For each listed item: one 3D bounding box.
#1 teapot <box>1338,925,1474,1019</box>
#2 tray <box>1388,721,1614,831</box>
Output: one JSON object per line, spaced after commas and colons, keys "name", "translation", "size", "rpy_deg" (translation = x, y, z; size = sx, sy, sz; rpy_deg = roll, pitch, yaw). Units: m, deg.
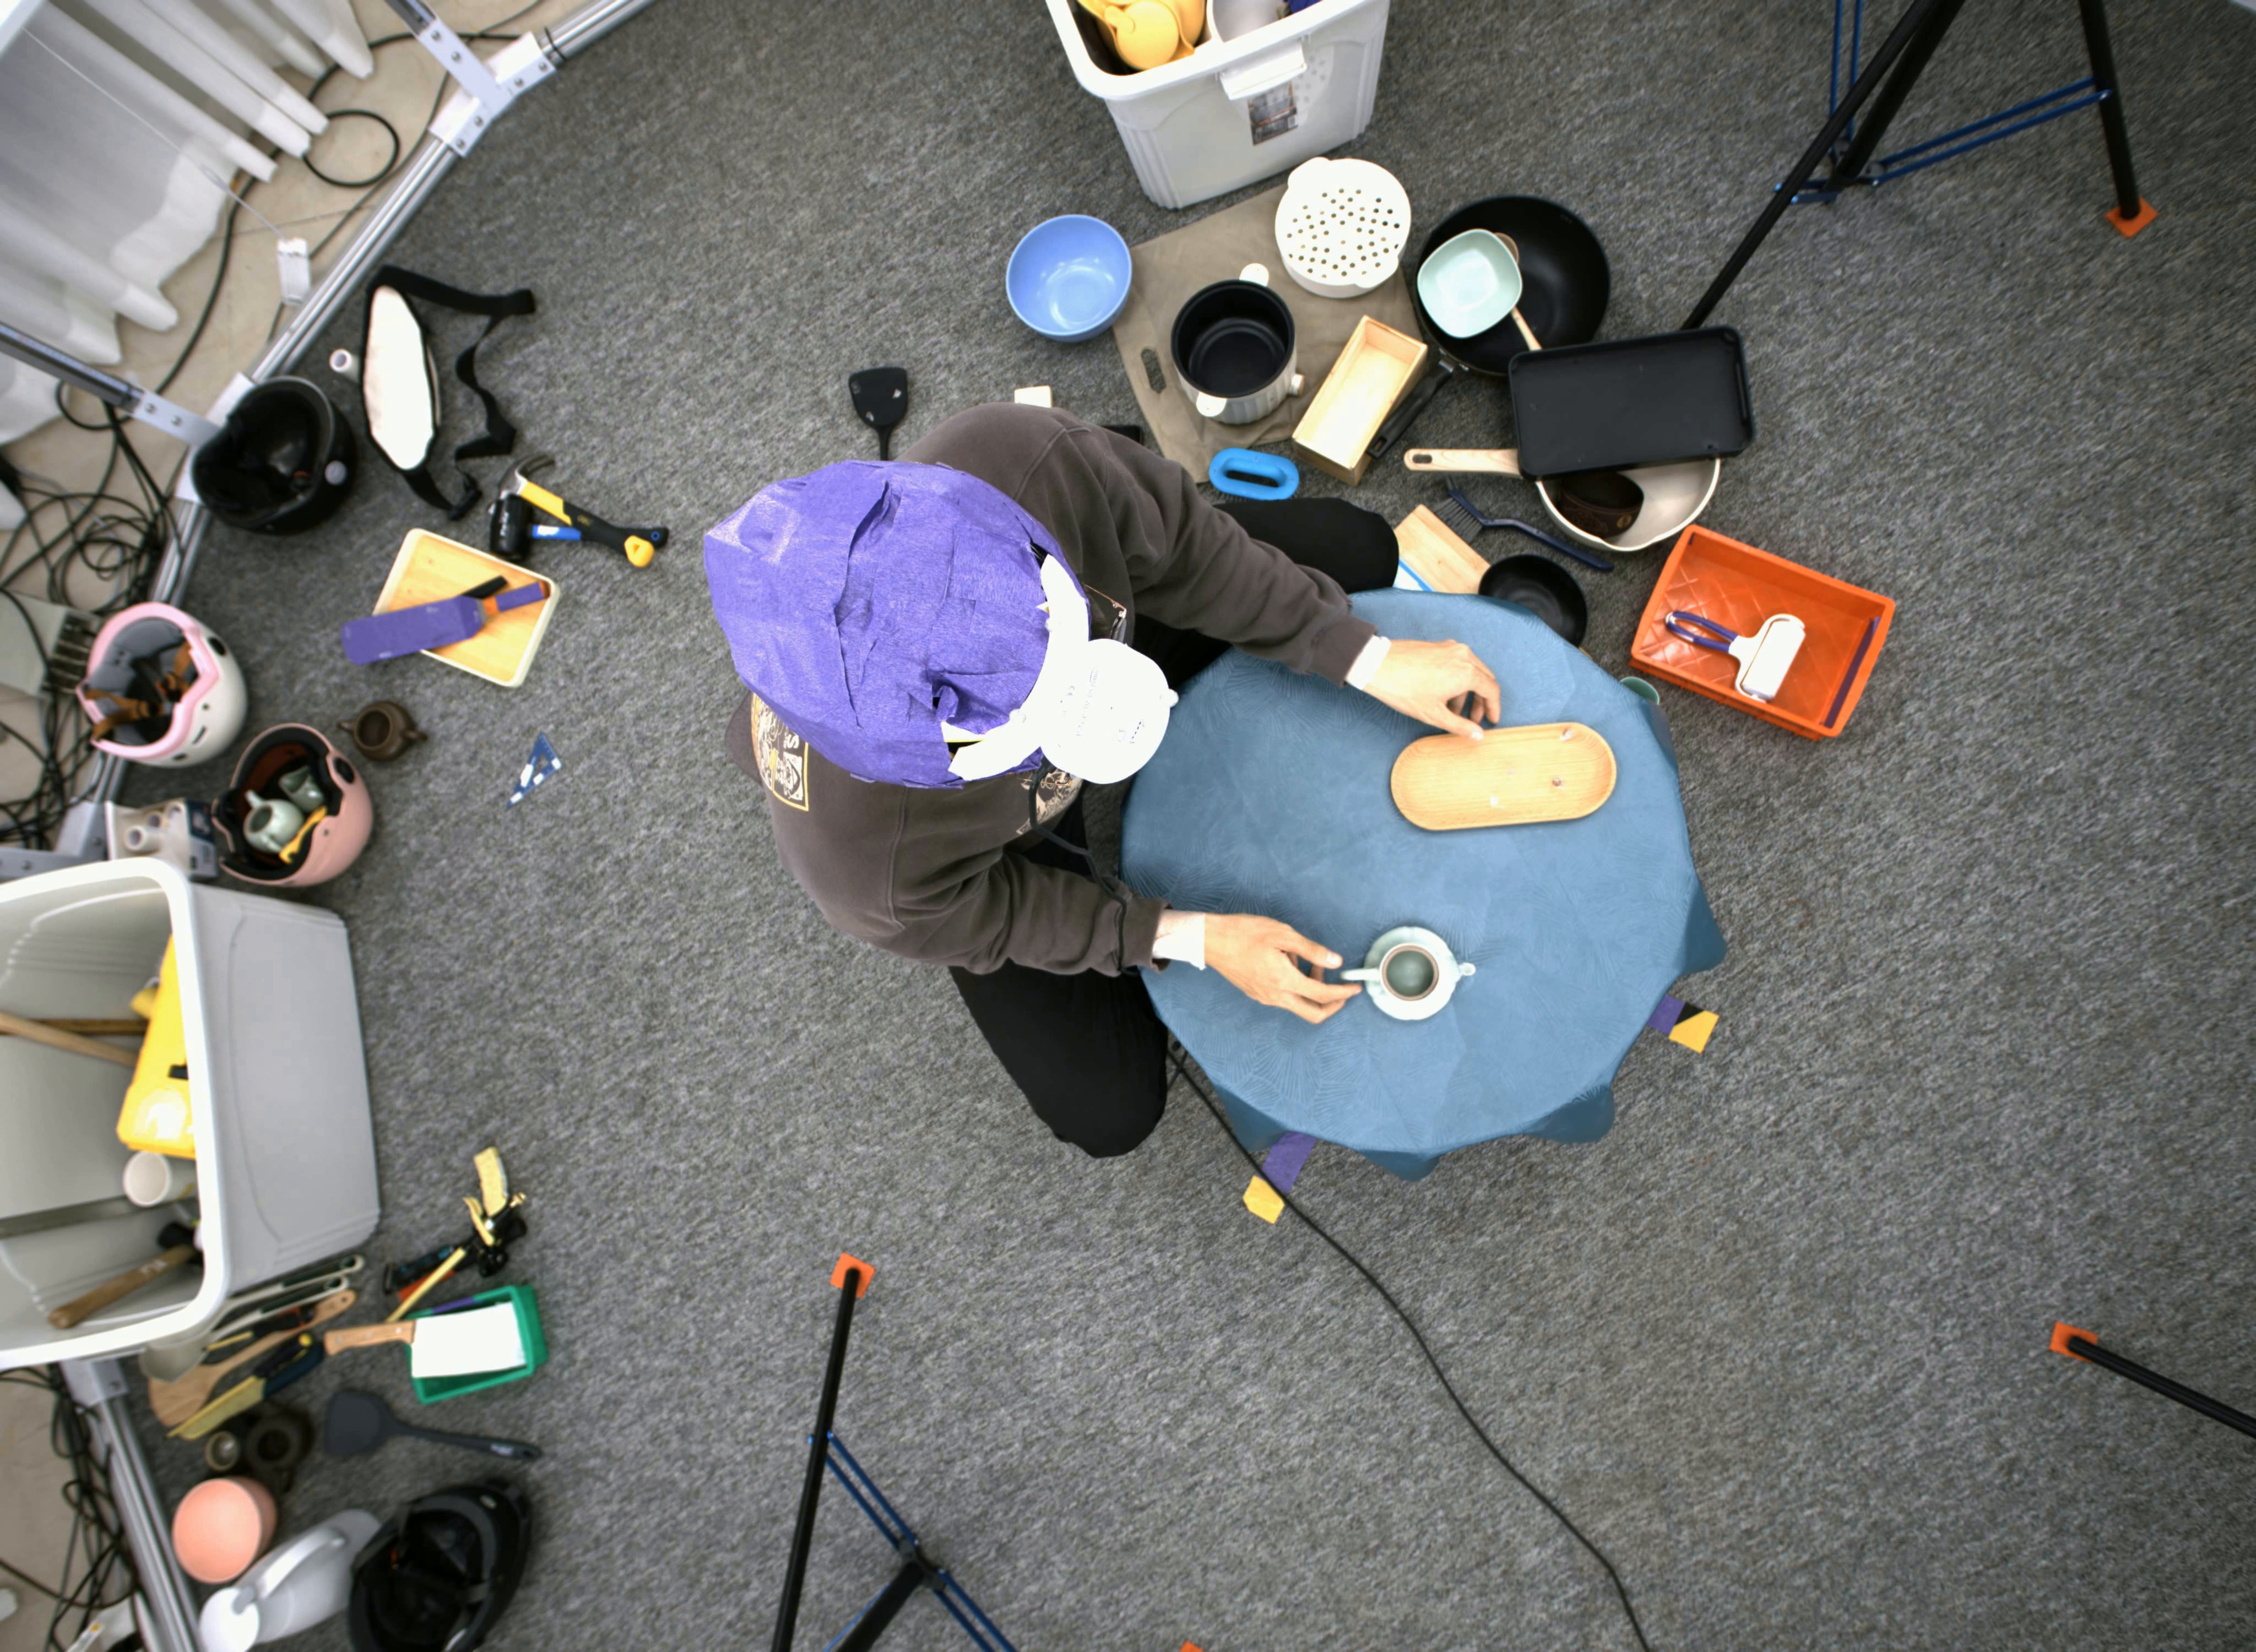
{"name": "teapot", "translation": [0.284, 0.149, 1.421], "size": [0.137, 0.061, 0.096], "rpy_deg": [-7, 87, 9]}
{"name": "tray", "translation": [0.388, -0.054, 1.433], "size": [0.232, 0.020, 0.101], "rpy_deg": [-6, 86, 11]}
